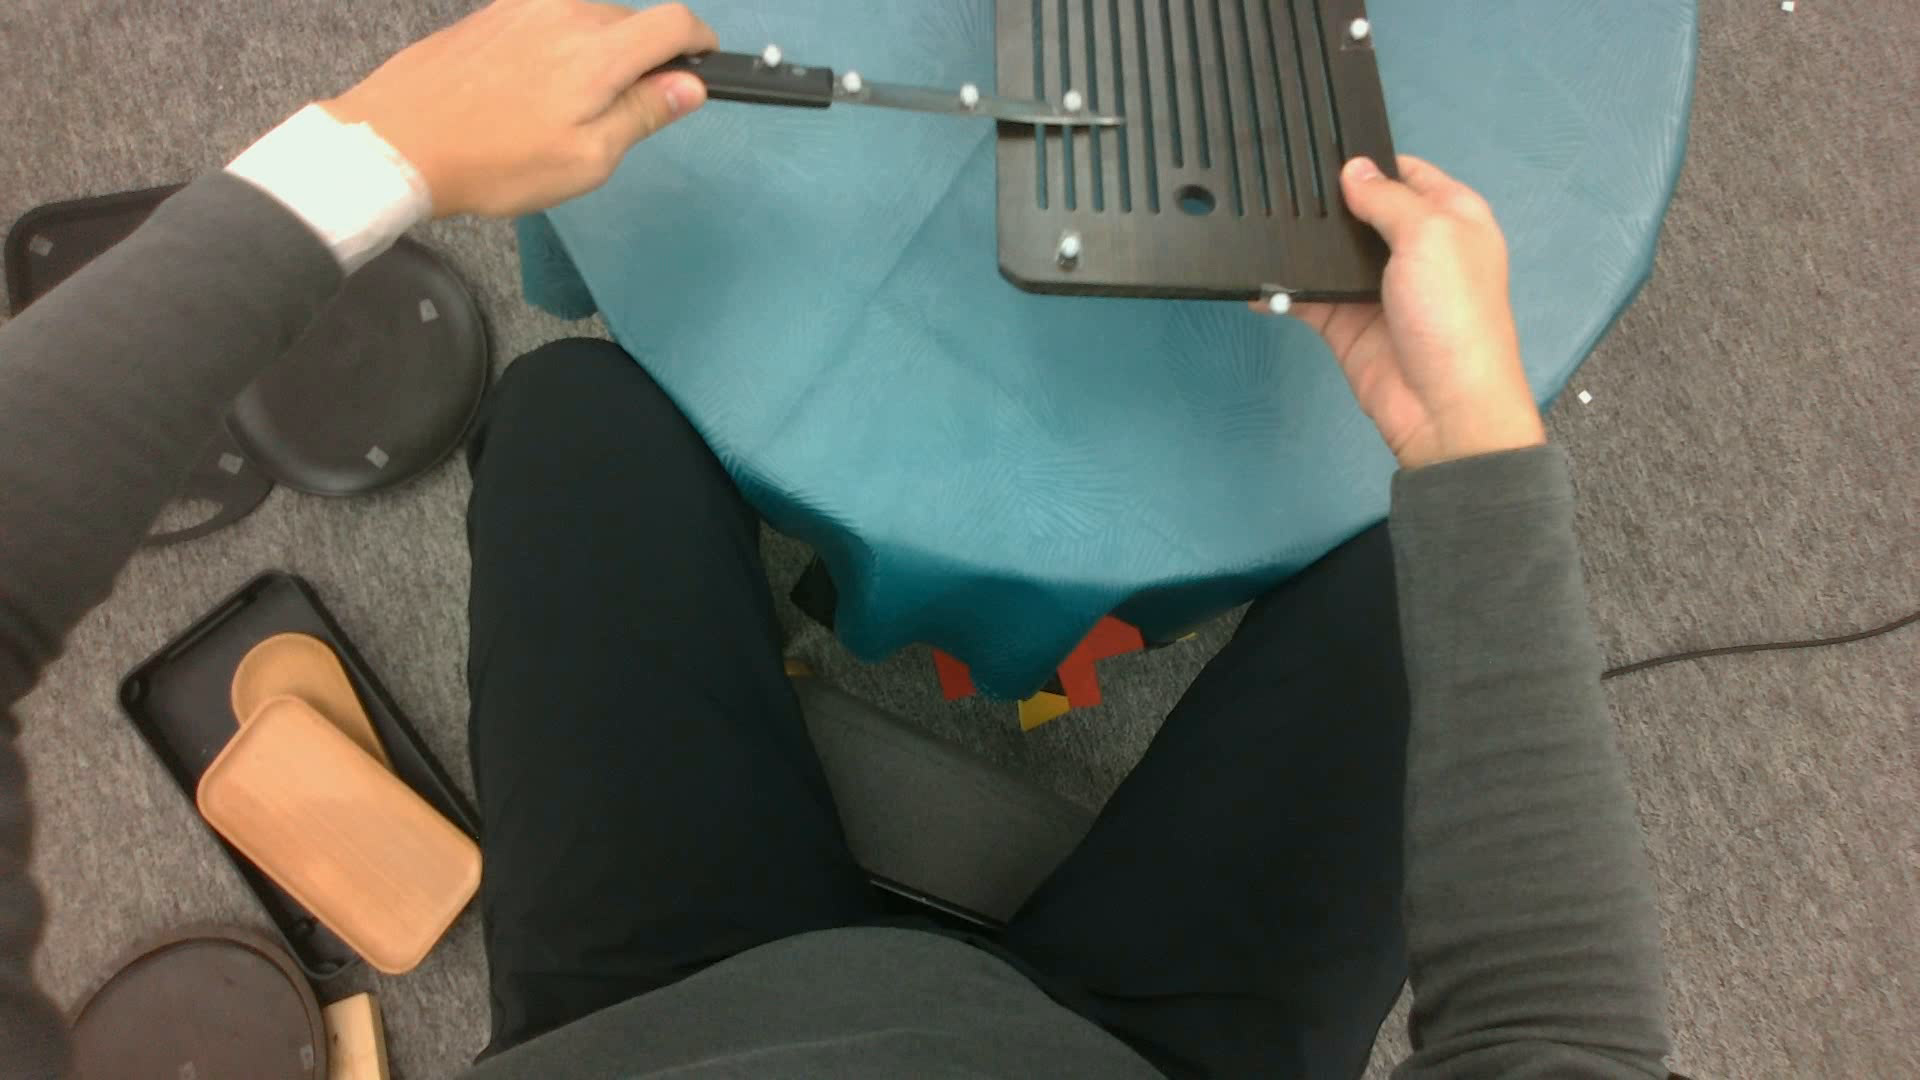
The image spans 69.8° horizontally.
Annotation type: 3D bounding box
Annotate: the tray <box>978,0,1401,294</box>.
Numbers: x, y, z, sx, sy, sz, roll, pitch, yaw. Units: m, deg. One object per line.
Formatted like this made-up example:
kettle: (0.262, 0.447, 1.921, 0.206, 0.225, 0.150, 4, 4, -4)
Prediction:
tray: (0.093, -0.234, 0.631, 0.170, 0.018, 0.307, 1, 60, -3)

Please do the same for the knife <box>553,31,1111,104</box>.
knife: (-0.052, -0.196, 0.585, 0.238, 0.016, 0.024, 3, 43, -6)
